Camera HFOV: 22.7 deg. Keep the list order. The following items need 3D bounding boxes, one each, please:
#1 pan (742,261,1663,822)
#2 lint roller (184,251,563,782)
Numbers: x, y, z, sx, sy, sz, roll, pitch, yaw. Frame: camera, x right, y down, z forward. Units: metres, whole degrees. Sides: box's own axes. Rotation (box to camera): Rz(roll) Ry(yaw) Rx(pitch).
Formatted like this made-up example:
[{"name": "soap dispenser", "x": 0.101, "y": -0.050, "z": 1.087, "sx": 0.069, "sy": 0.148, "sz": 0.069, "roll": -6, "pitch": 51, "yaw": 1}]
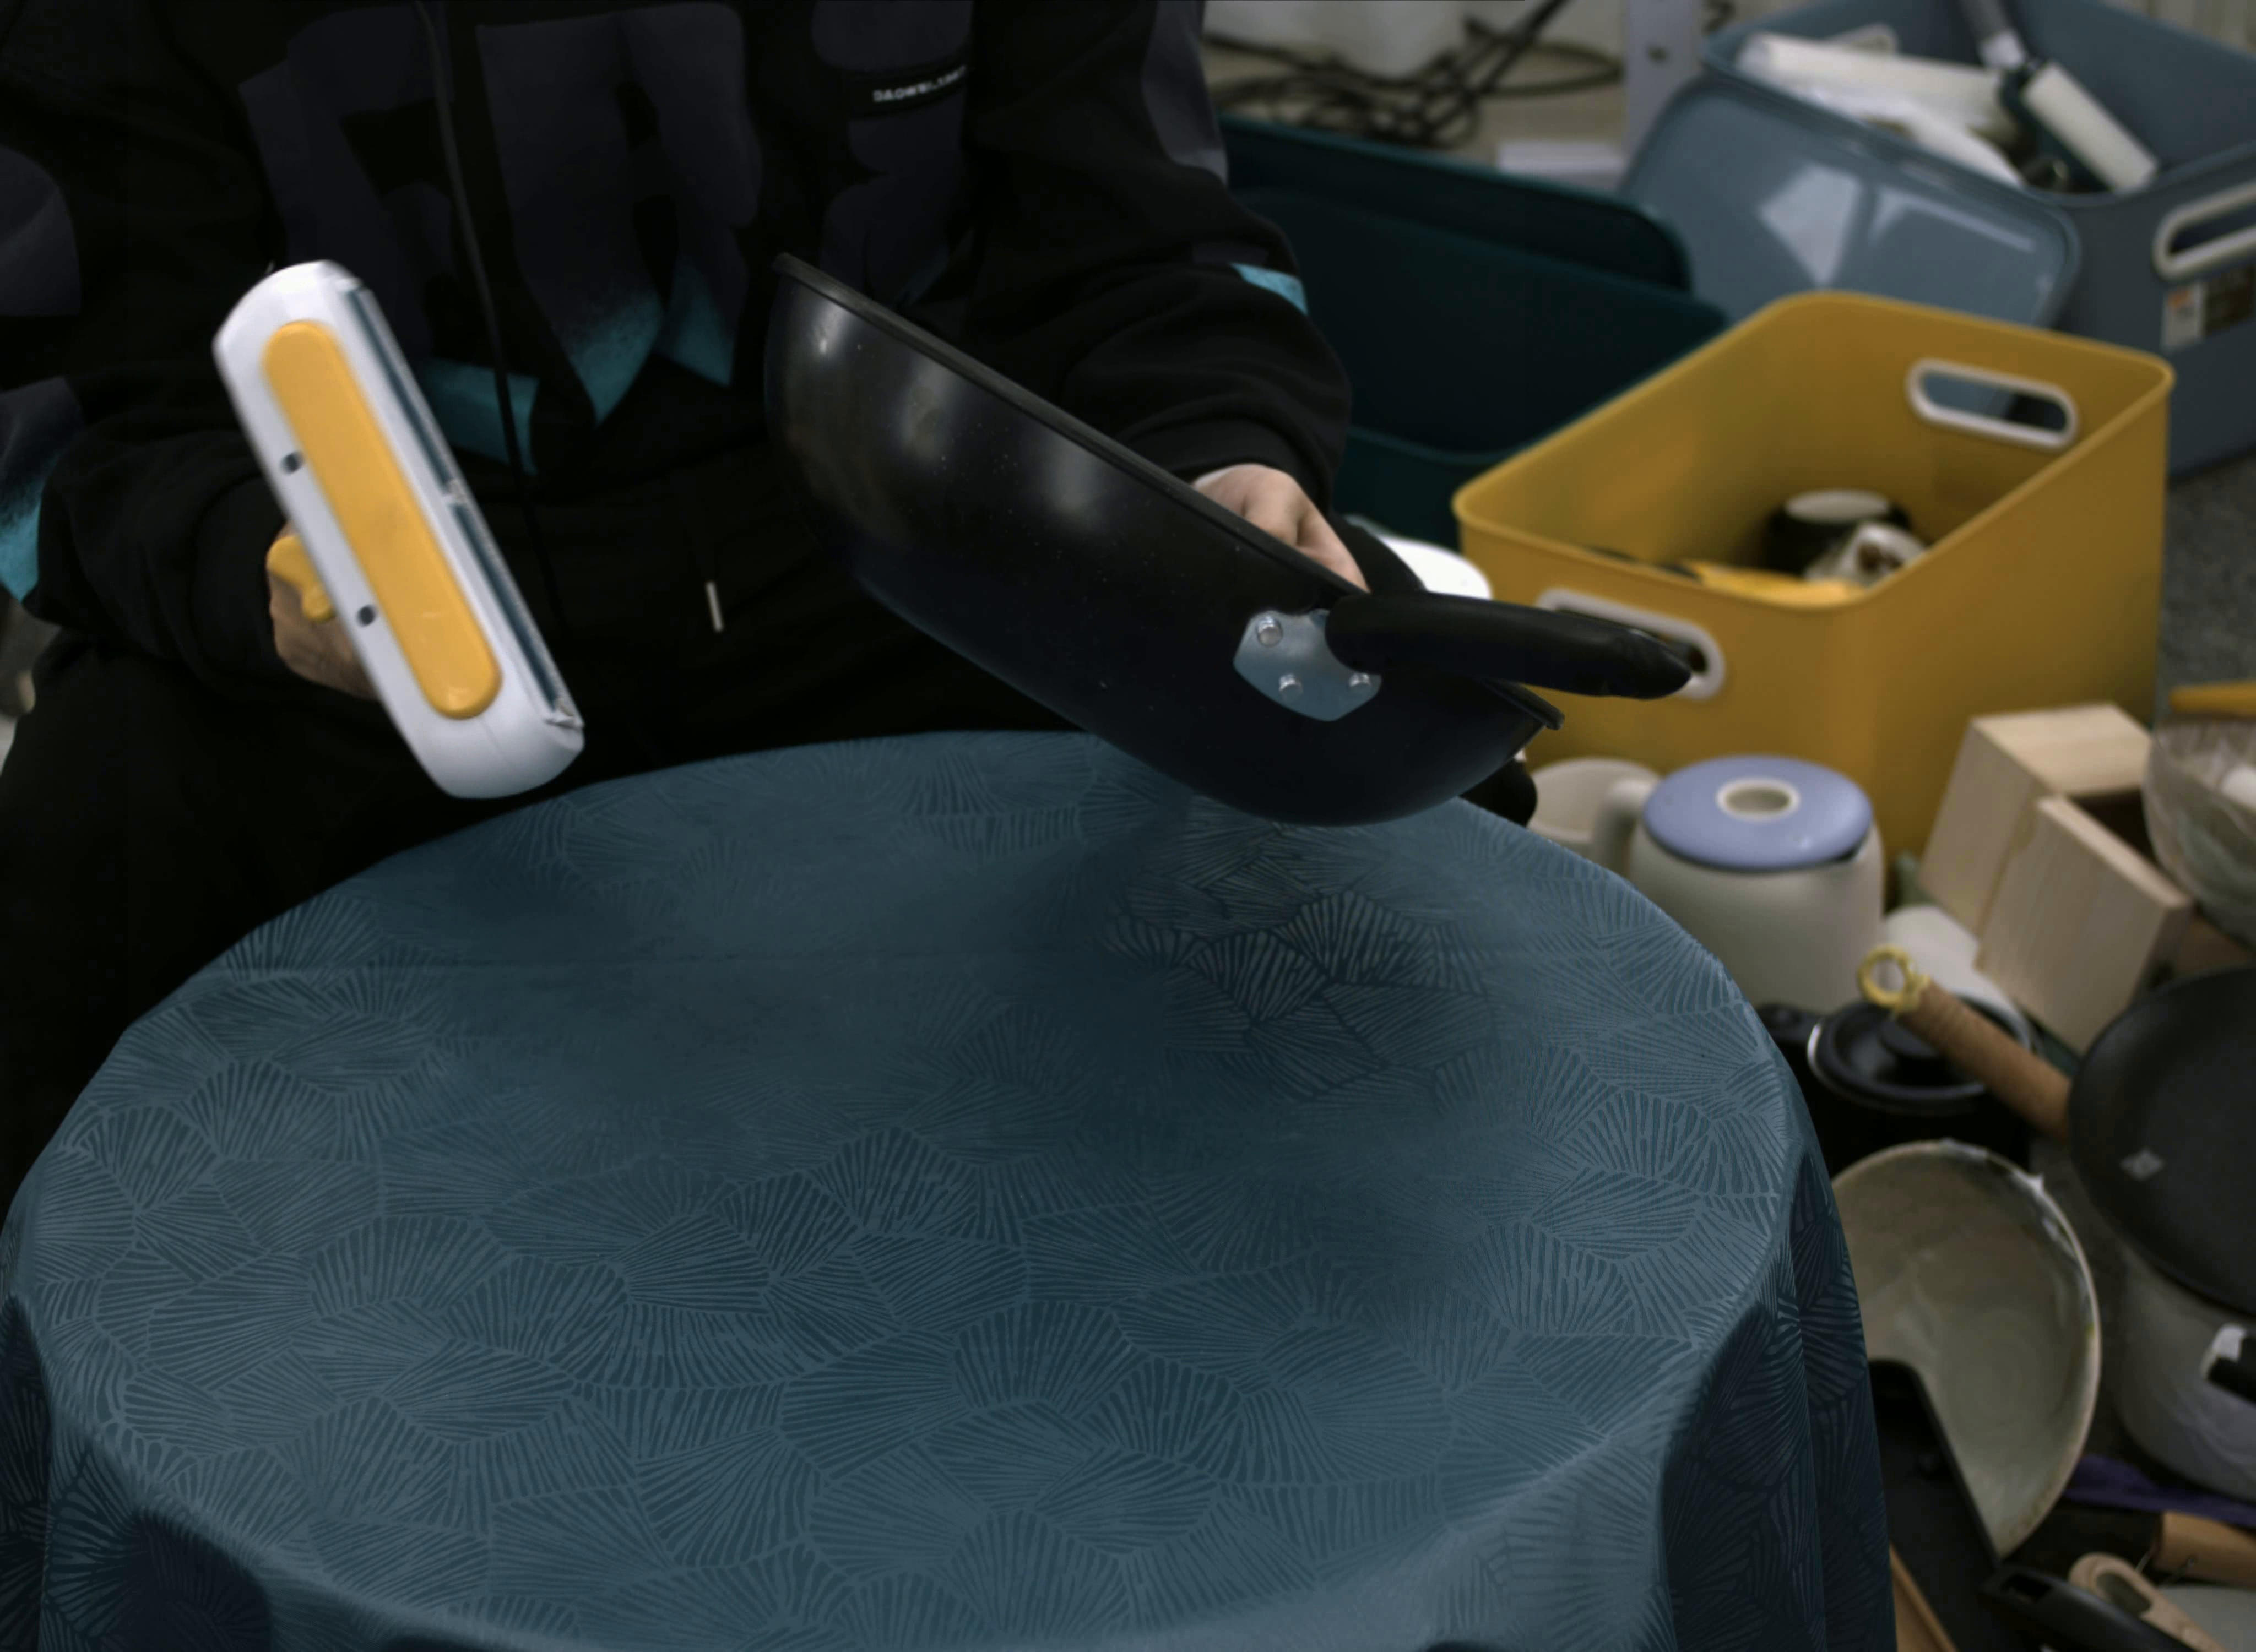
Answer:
[{"name": "pan", "x": 0.029, "y": -0.068, "z": 1.834, "sx": 0.309, "sy": 0.112, "sz": 0.478, "roll": 27, "pitch": 3, "yaw": -29}, {"name": "lint roller", "x": -0.252, "y": -0.088, "z": 1.937, "sx": 0.074, "sy": 0.194, "sz": 0.191, "roll": -33, "pitch": -12, "yaw": -2}]
